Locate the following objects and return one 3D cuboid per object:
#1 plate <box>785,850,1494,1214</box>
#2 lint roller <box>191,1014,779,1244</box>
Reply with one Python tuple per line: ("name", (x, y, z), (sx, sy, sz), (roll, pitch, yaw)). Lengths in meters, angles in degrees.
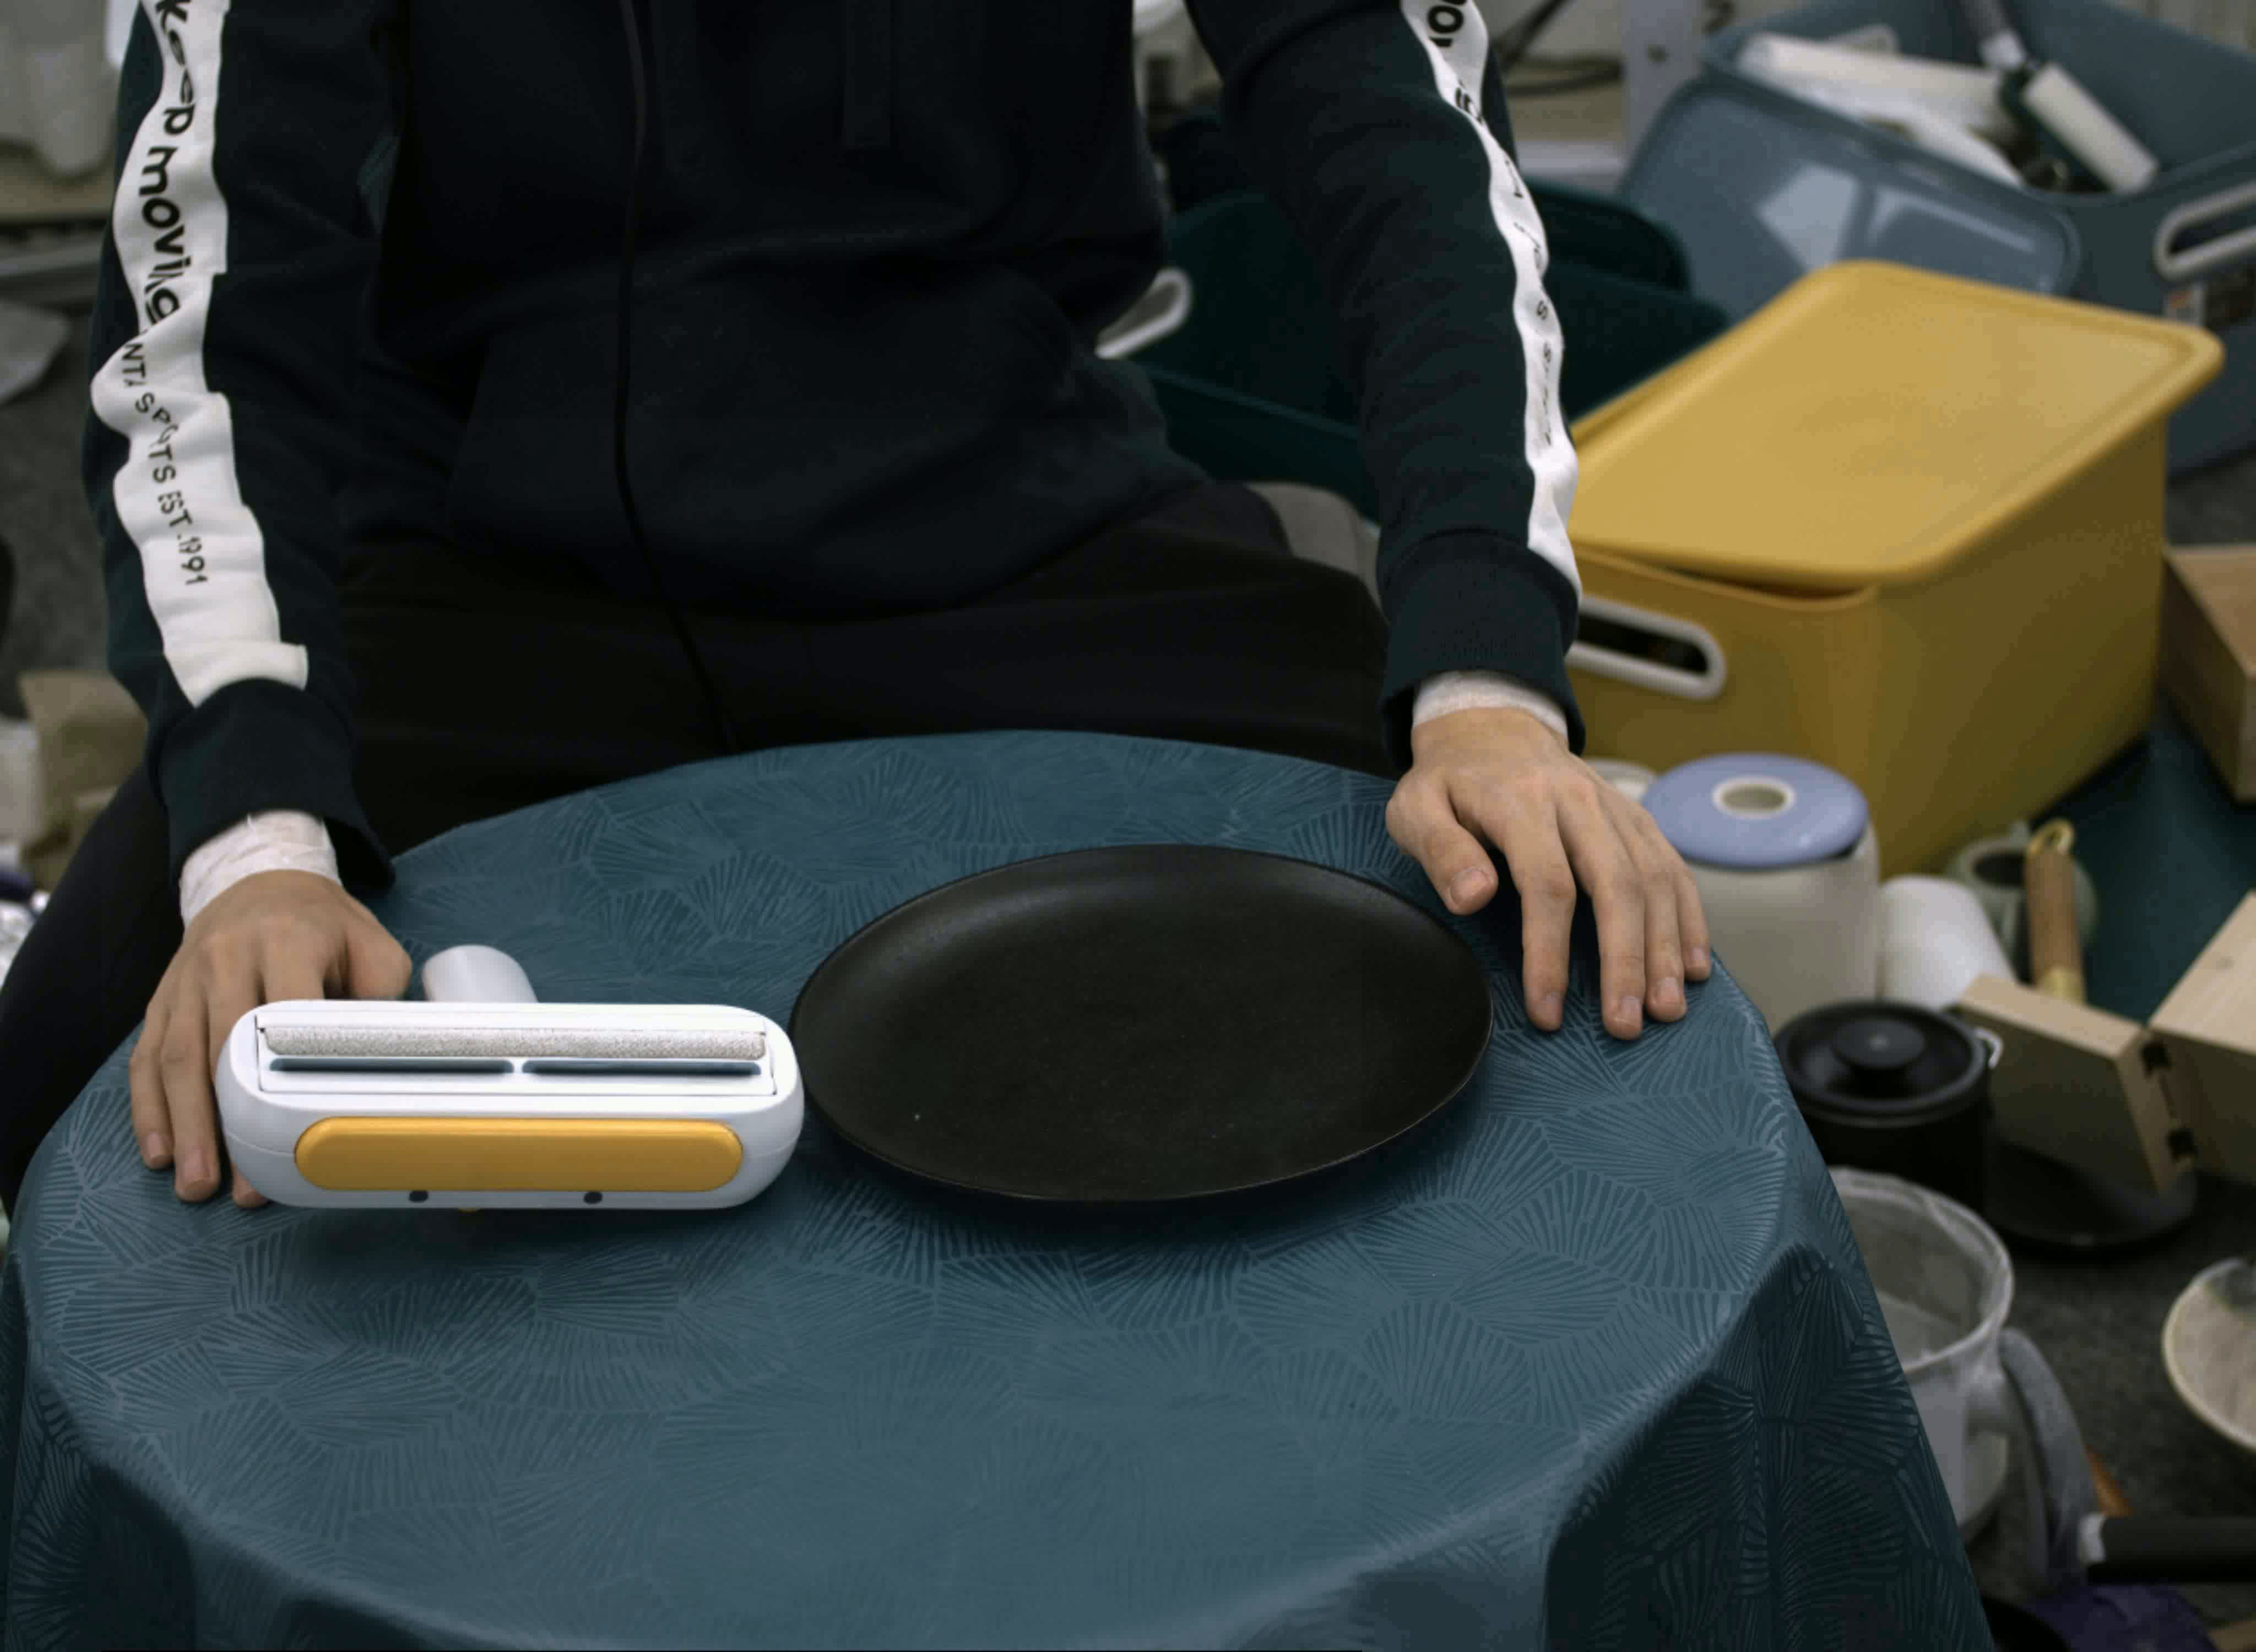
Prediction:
("plate", (0.004, 0.074, 1.926), (0.243, 0.023, 0.248), (-2, 28, 2))
("lint roller", (-0.217, 0.092, 1.906), (0.192, 0.074, 0.193), (1, 12, -6))
